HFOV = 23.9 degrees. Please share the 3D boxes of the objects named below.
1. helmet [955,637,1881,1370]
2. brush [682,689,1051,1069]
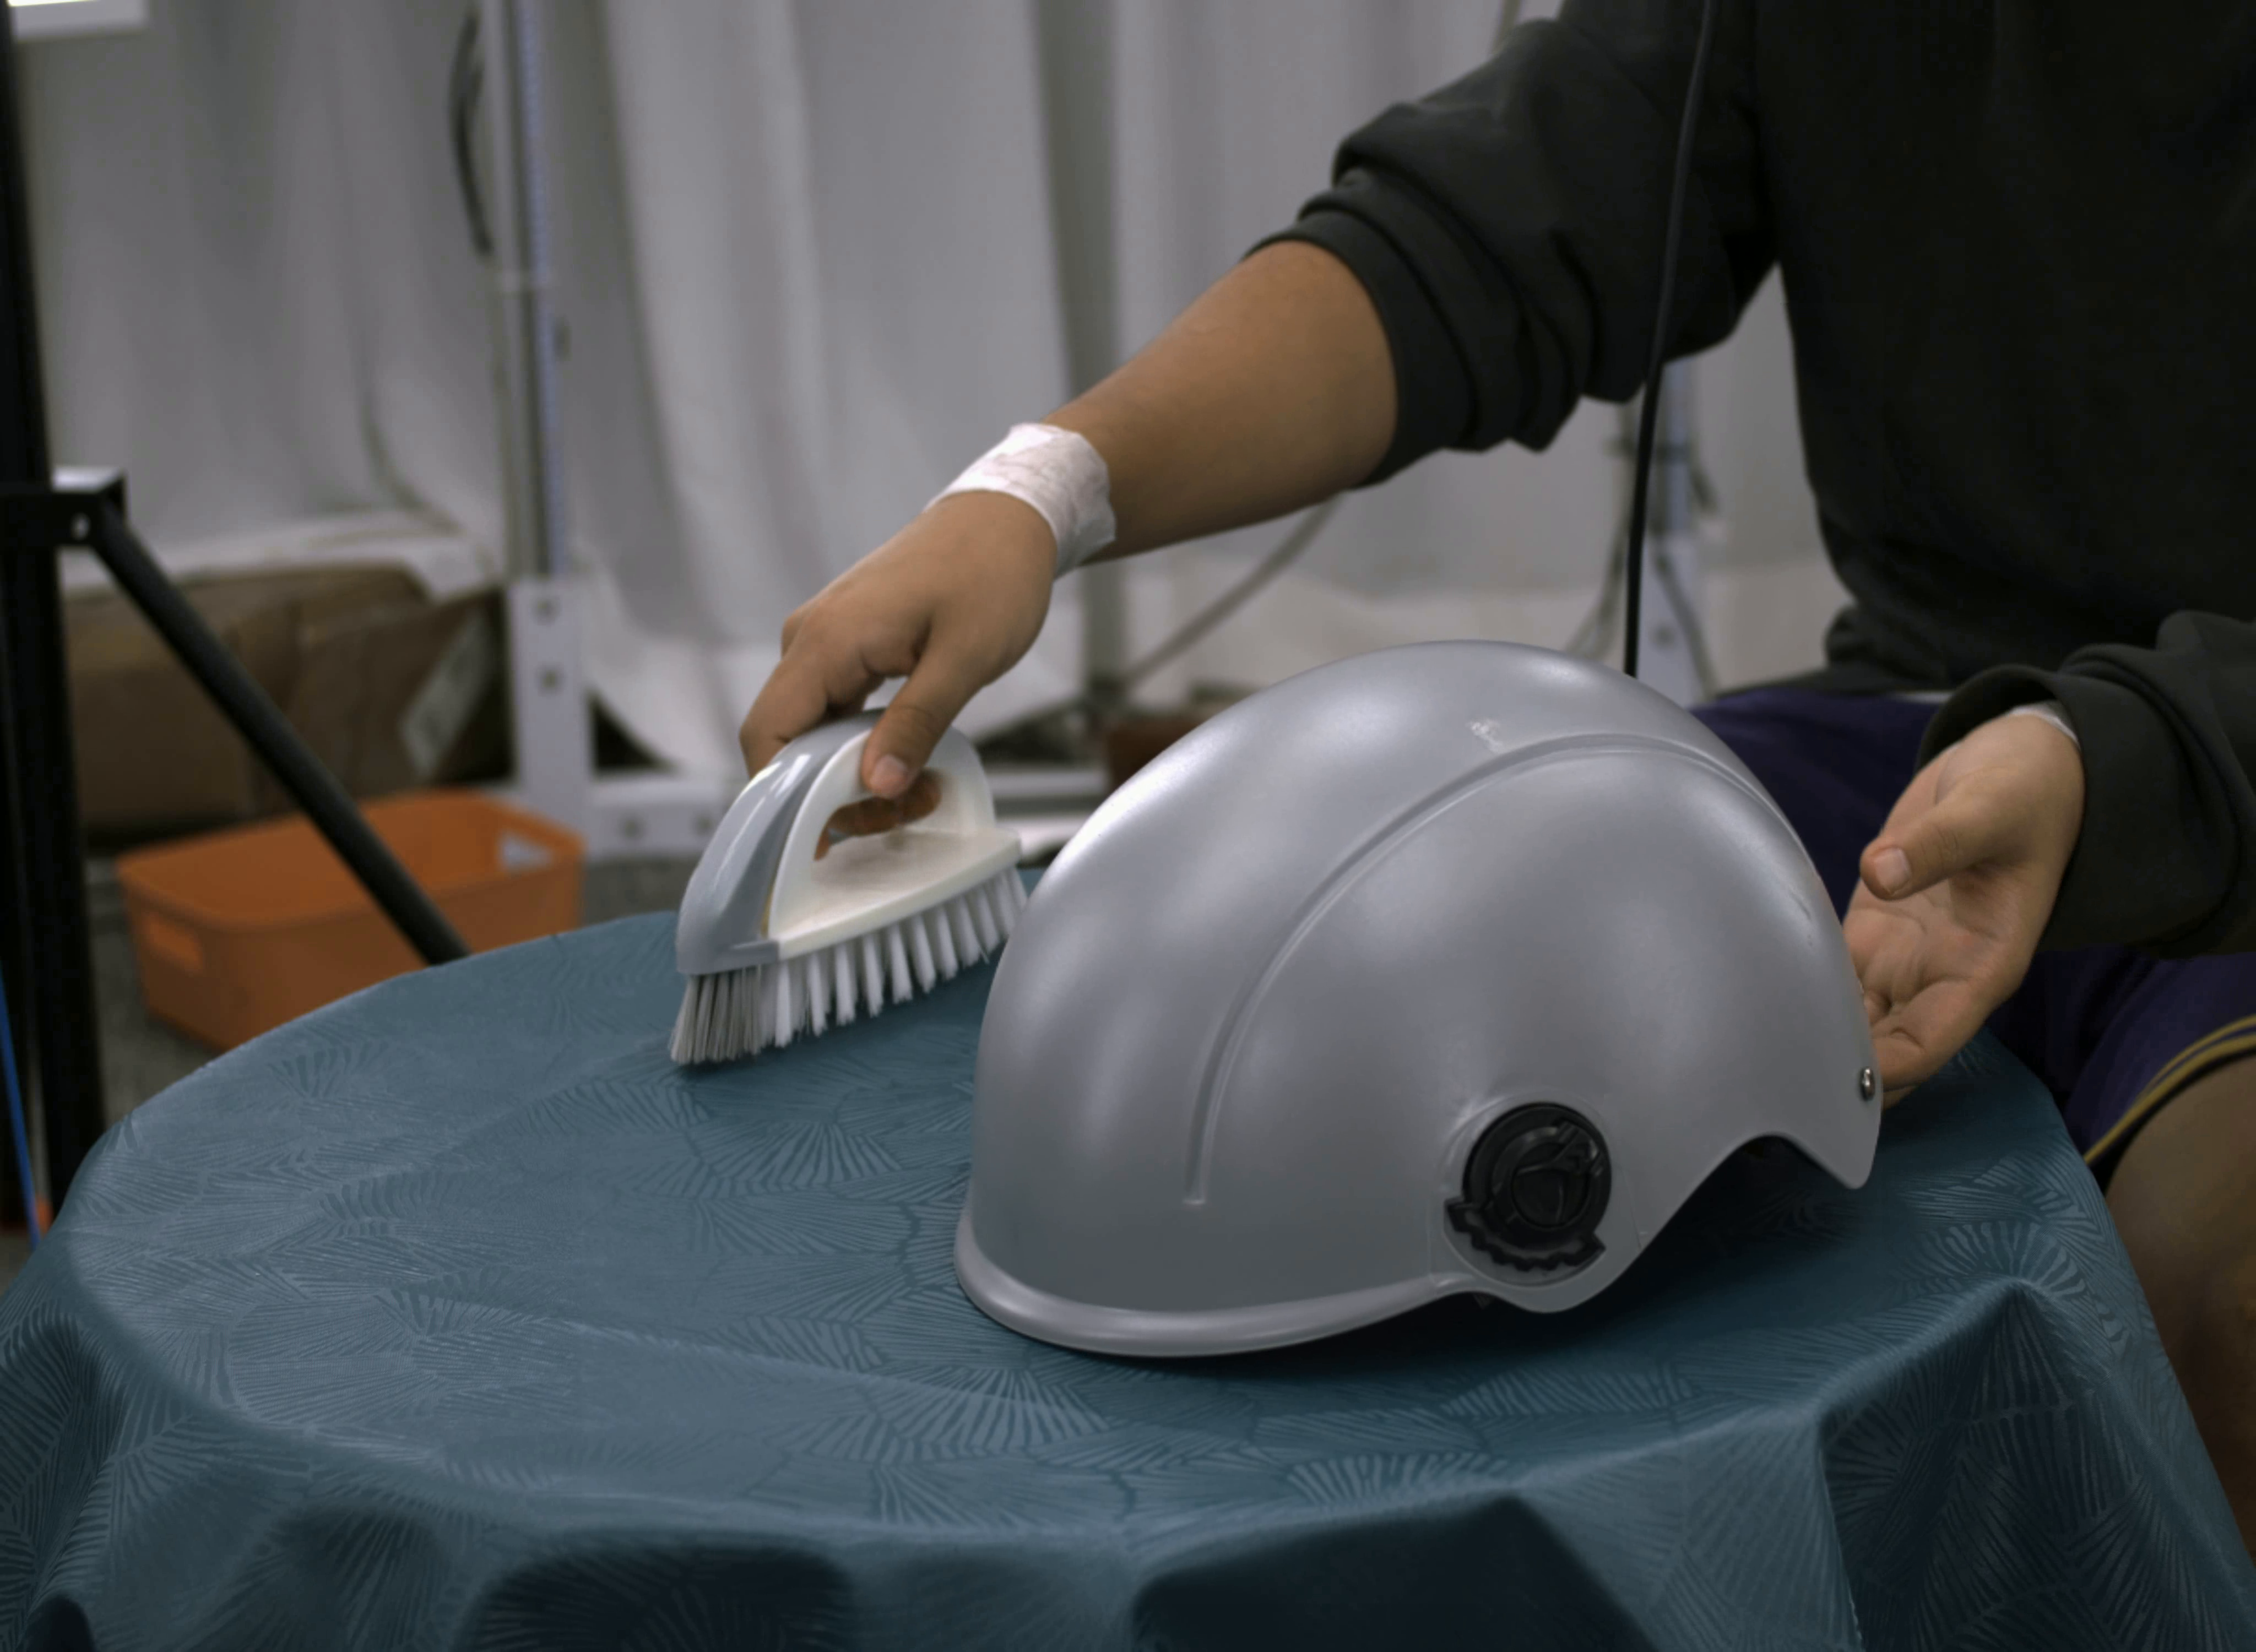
[{"bbox_3d":[0.076,0.037,1.501,0.270,0.168,0.237,-14,17,-29],"label":"helmet"},{"bbox_3d":[-0.094,0.012,1.742,0.062,0.094,0.172,4,21,34],"label":"brush"}]
